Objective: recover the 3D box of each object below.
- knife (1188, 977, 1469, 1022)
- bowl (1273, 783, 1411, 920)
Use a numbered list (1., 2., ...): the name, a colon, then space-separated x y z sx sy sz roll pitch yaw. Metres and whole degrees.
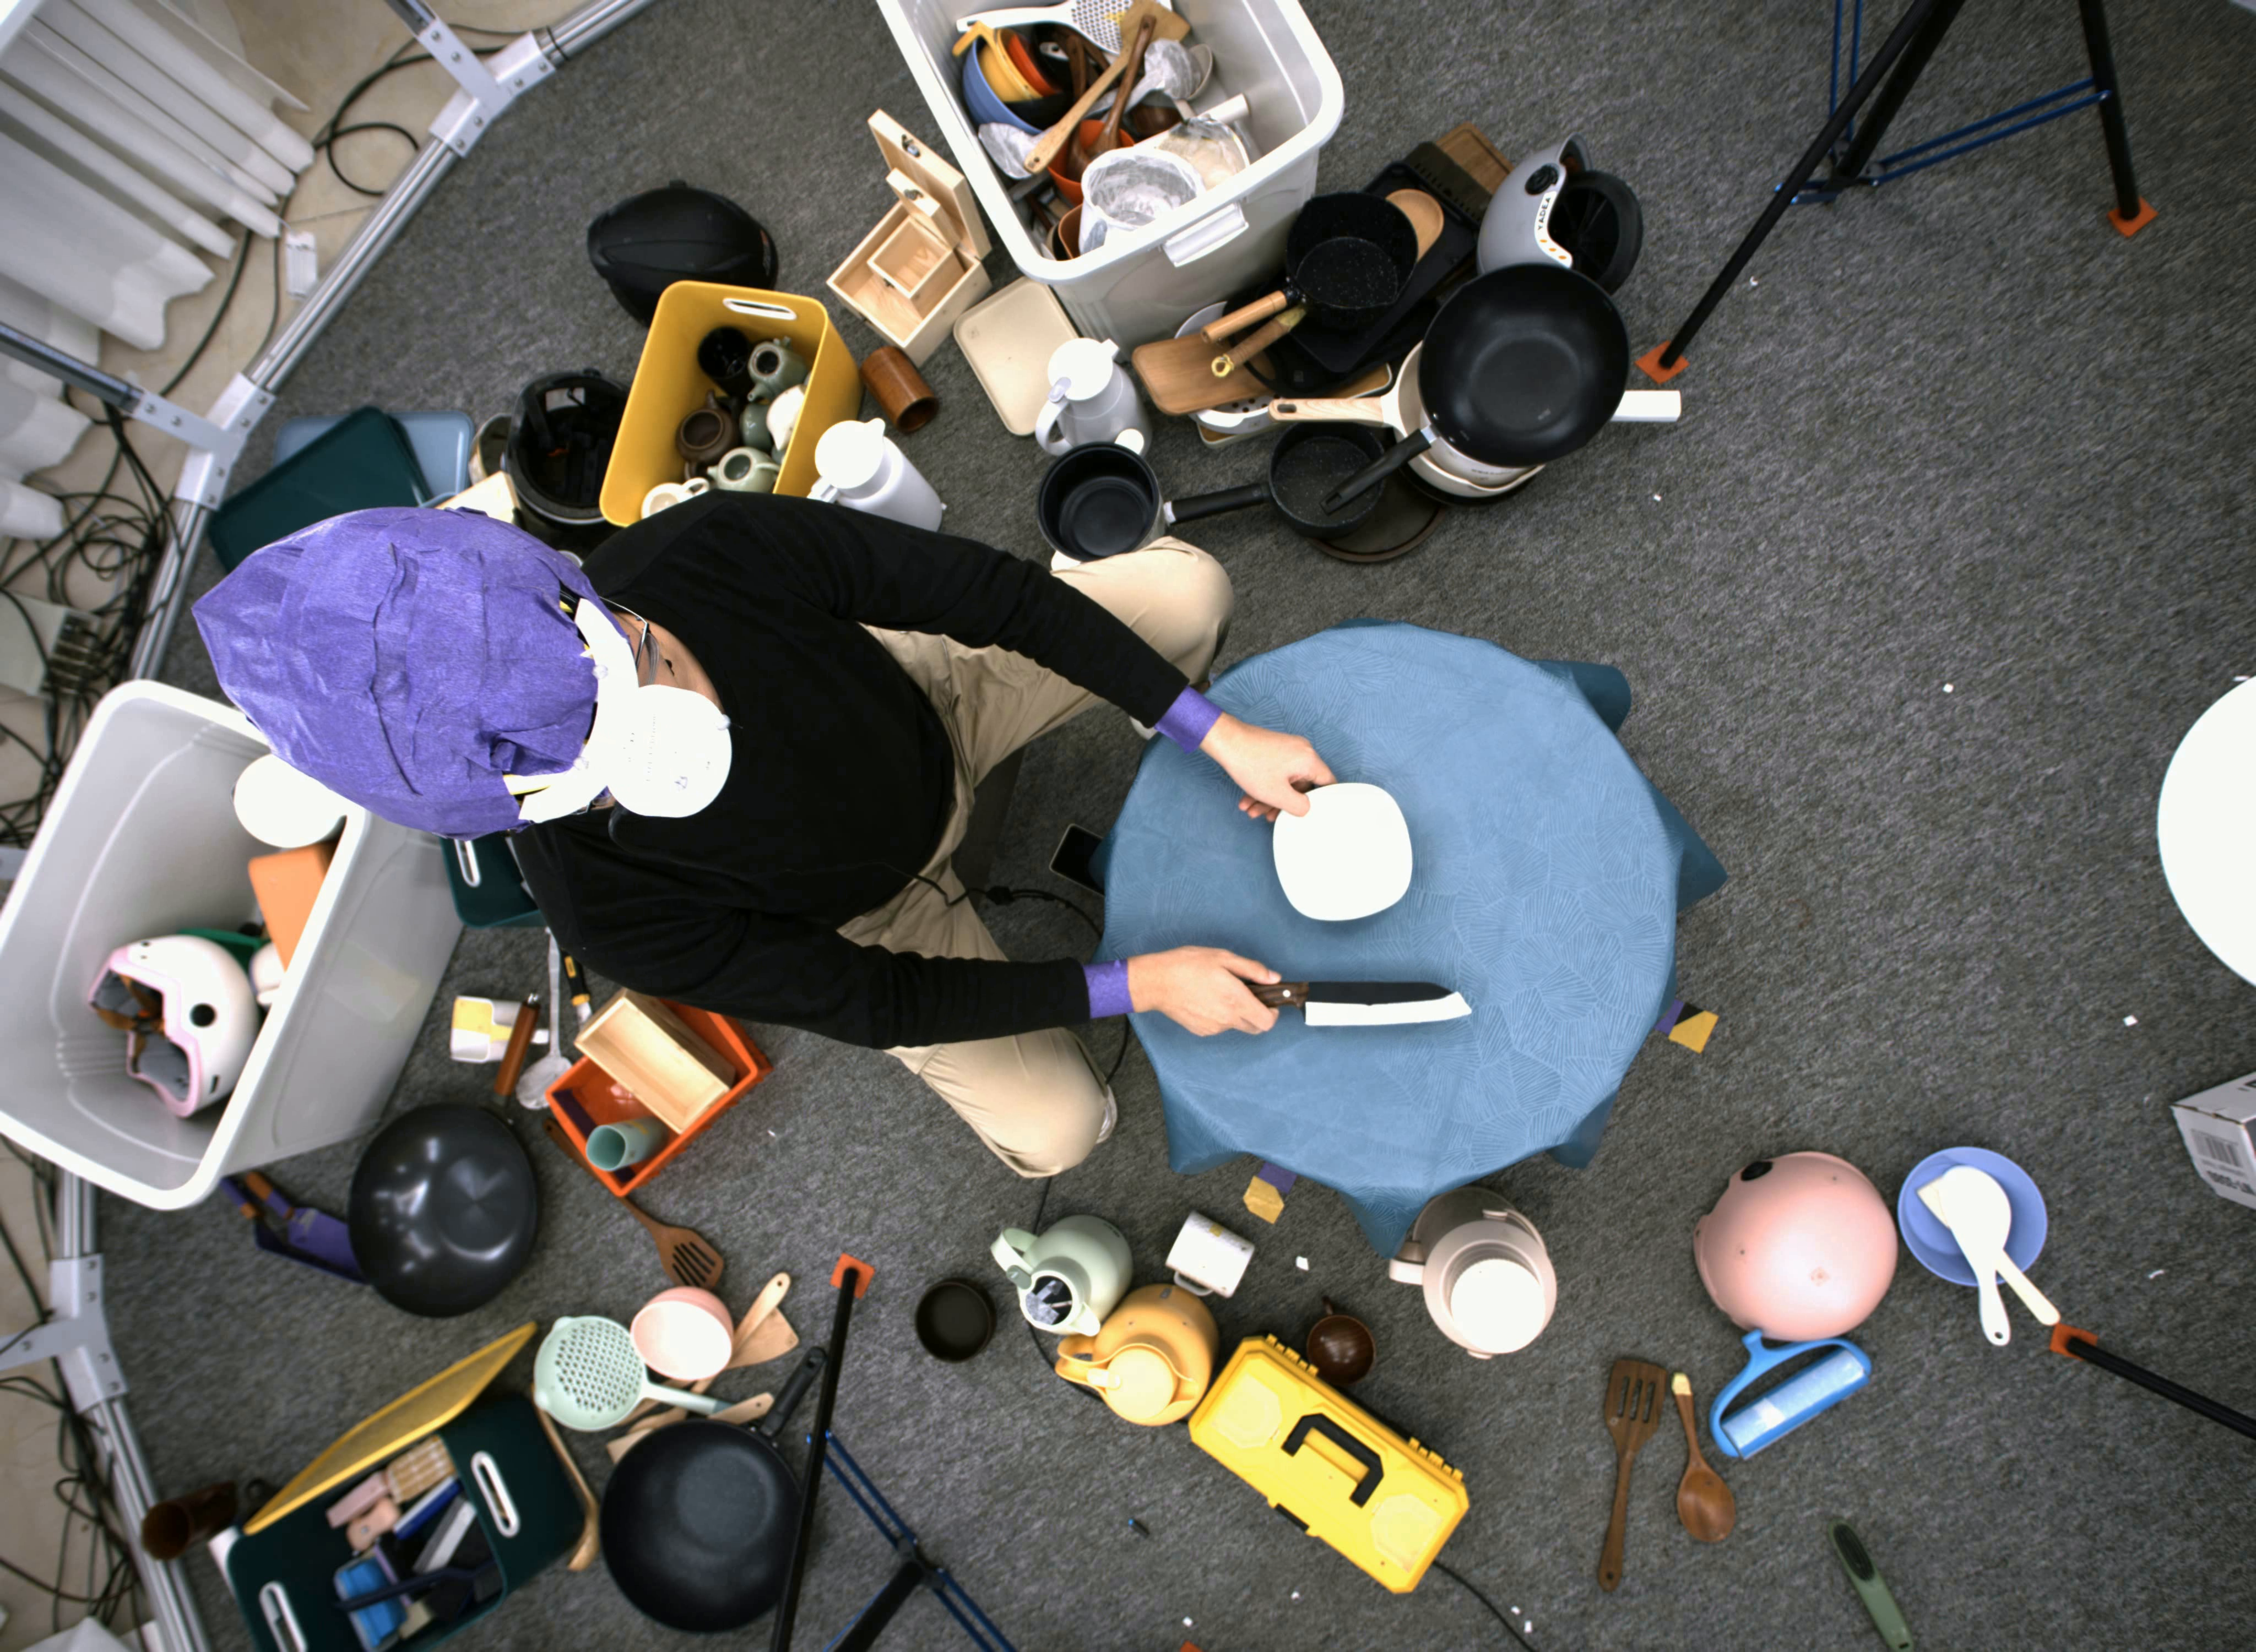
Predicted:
1. knife: 0.203 0.176 1.426 0.290 0.020 0.050 0 90 15
2. bowl: 0.222 0.027 1.440 0.152 0.059 0.151 -1 87 8
